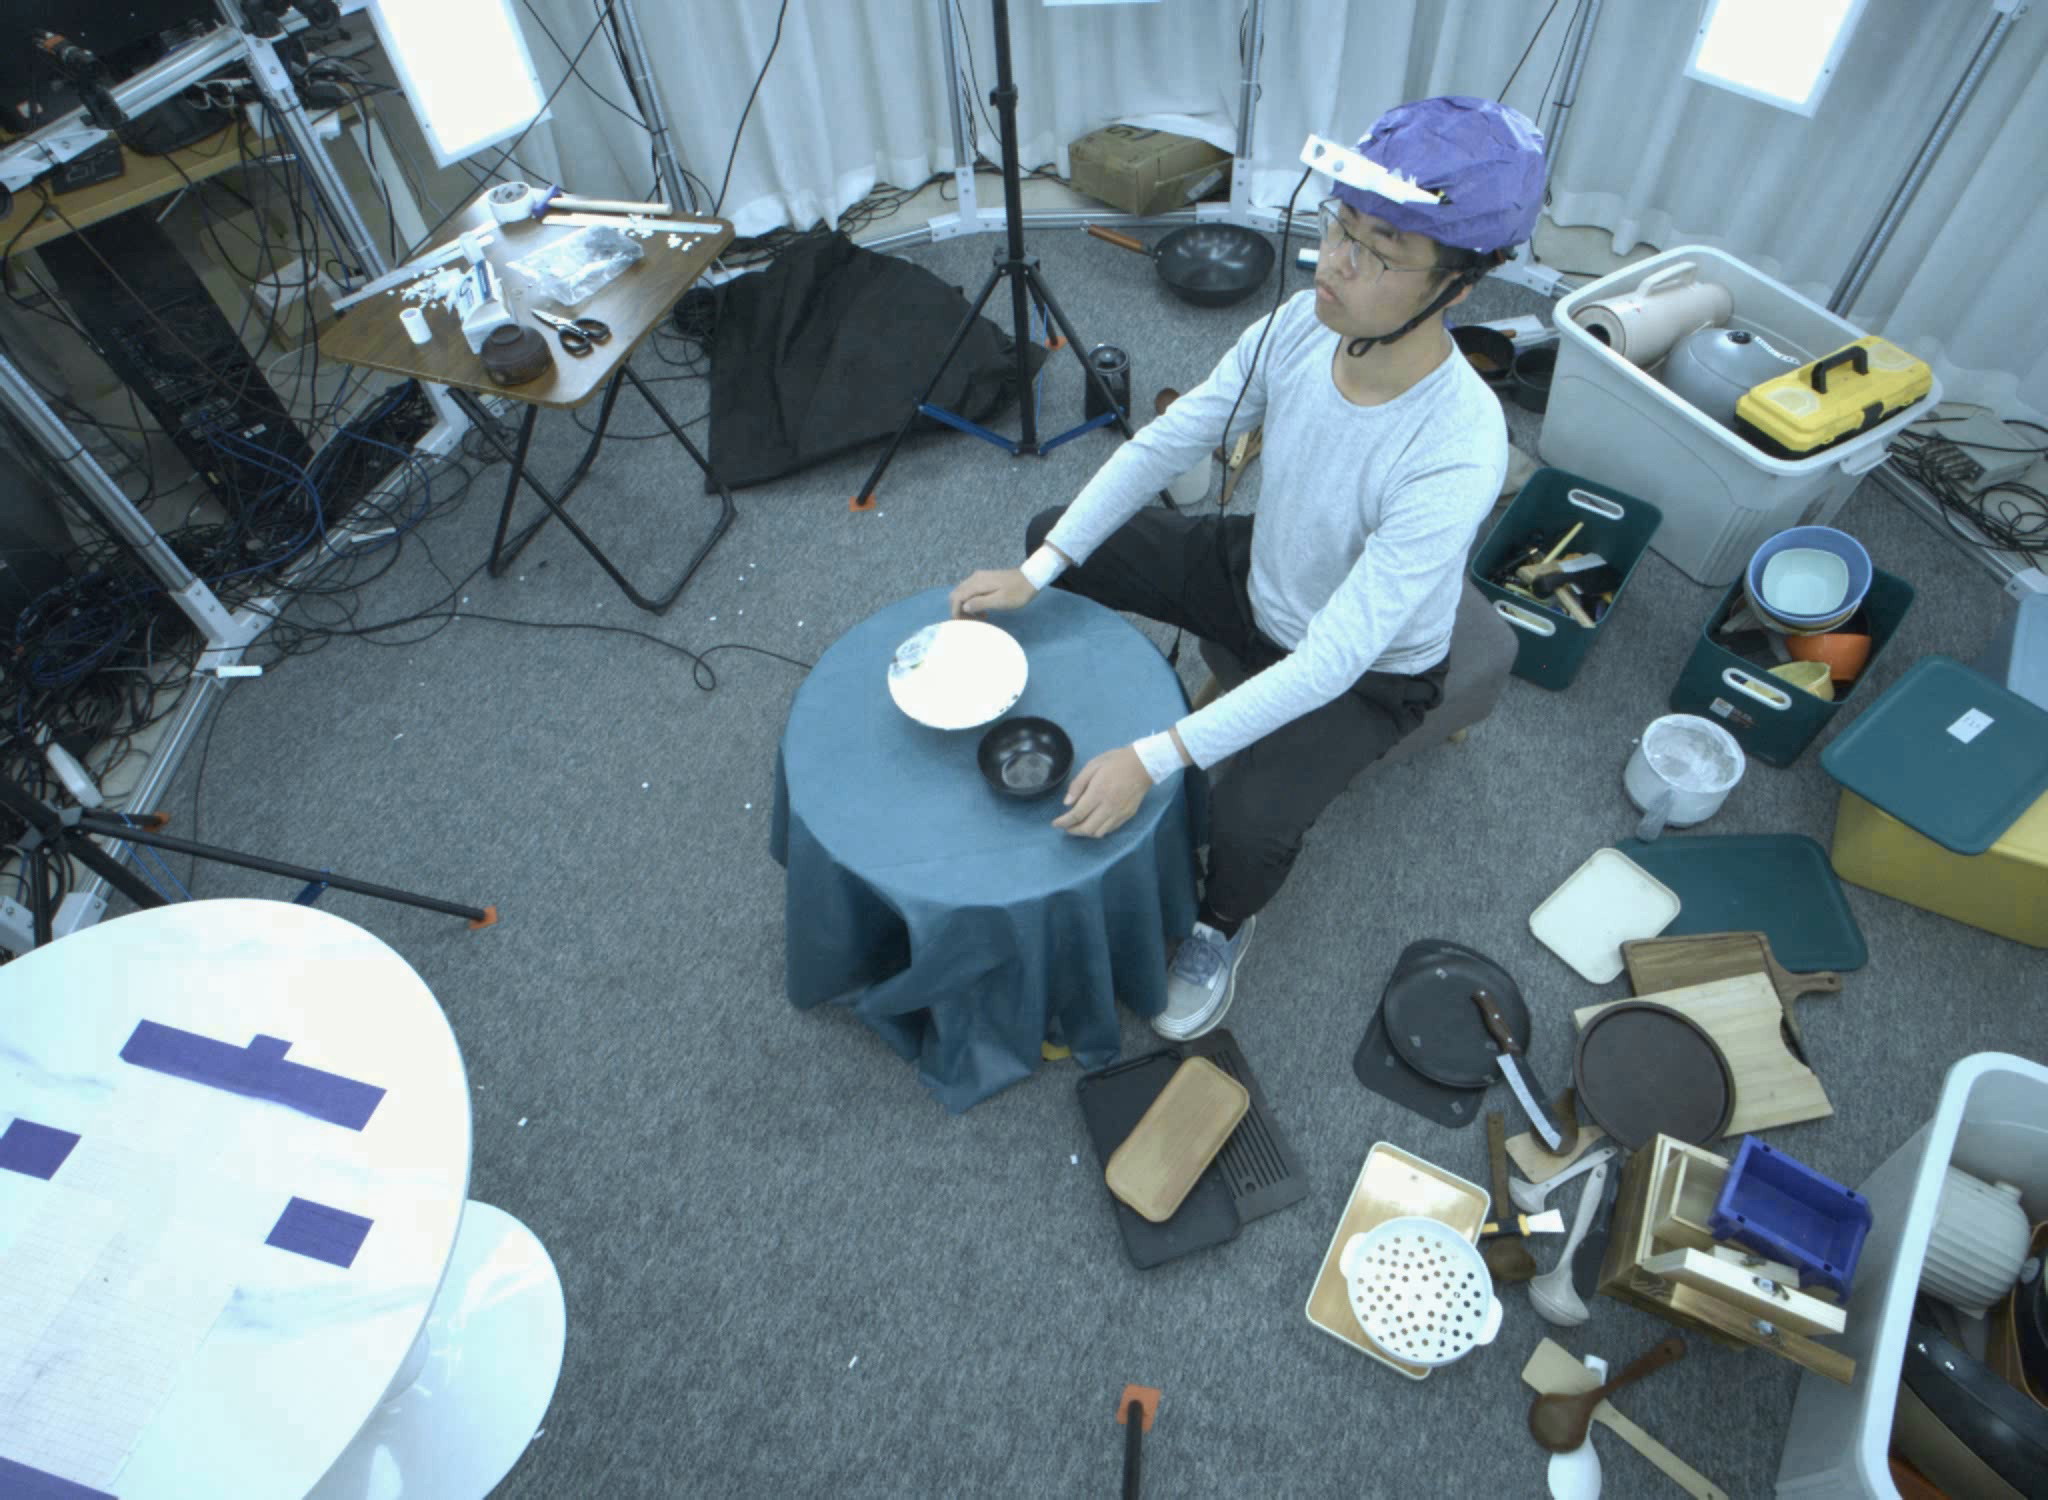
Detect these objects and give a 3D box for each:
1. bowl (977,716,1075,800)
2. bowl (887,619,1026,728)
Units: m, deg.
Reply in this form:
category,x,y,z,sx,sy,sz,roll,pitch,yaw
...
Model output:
category,x,y,z,sx,sy,sz,roll,pitch,yaw
bowl,0.002,0.020,1.755,0.140,0.050,0.138,3,53,-3
bowl,-0.097,-0.093,1.816,0.204,0.079,0.202,0,55,1
